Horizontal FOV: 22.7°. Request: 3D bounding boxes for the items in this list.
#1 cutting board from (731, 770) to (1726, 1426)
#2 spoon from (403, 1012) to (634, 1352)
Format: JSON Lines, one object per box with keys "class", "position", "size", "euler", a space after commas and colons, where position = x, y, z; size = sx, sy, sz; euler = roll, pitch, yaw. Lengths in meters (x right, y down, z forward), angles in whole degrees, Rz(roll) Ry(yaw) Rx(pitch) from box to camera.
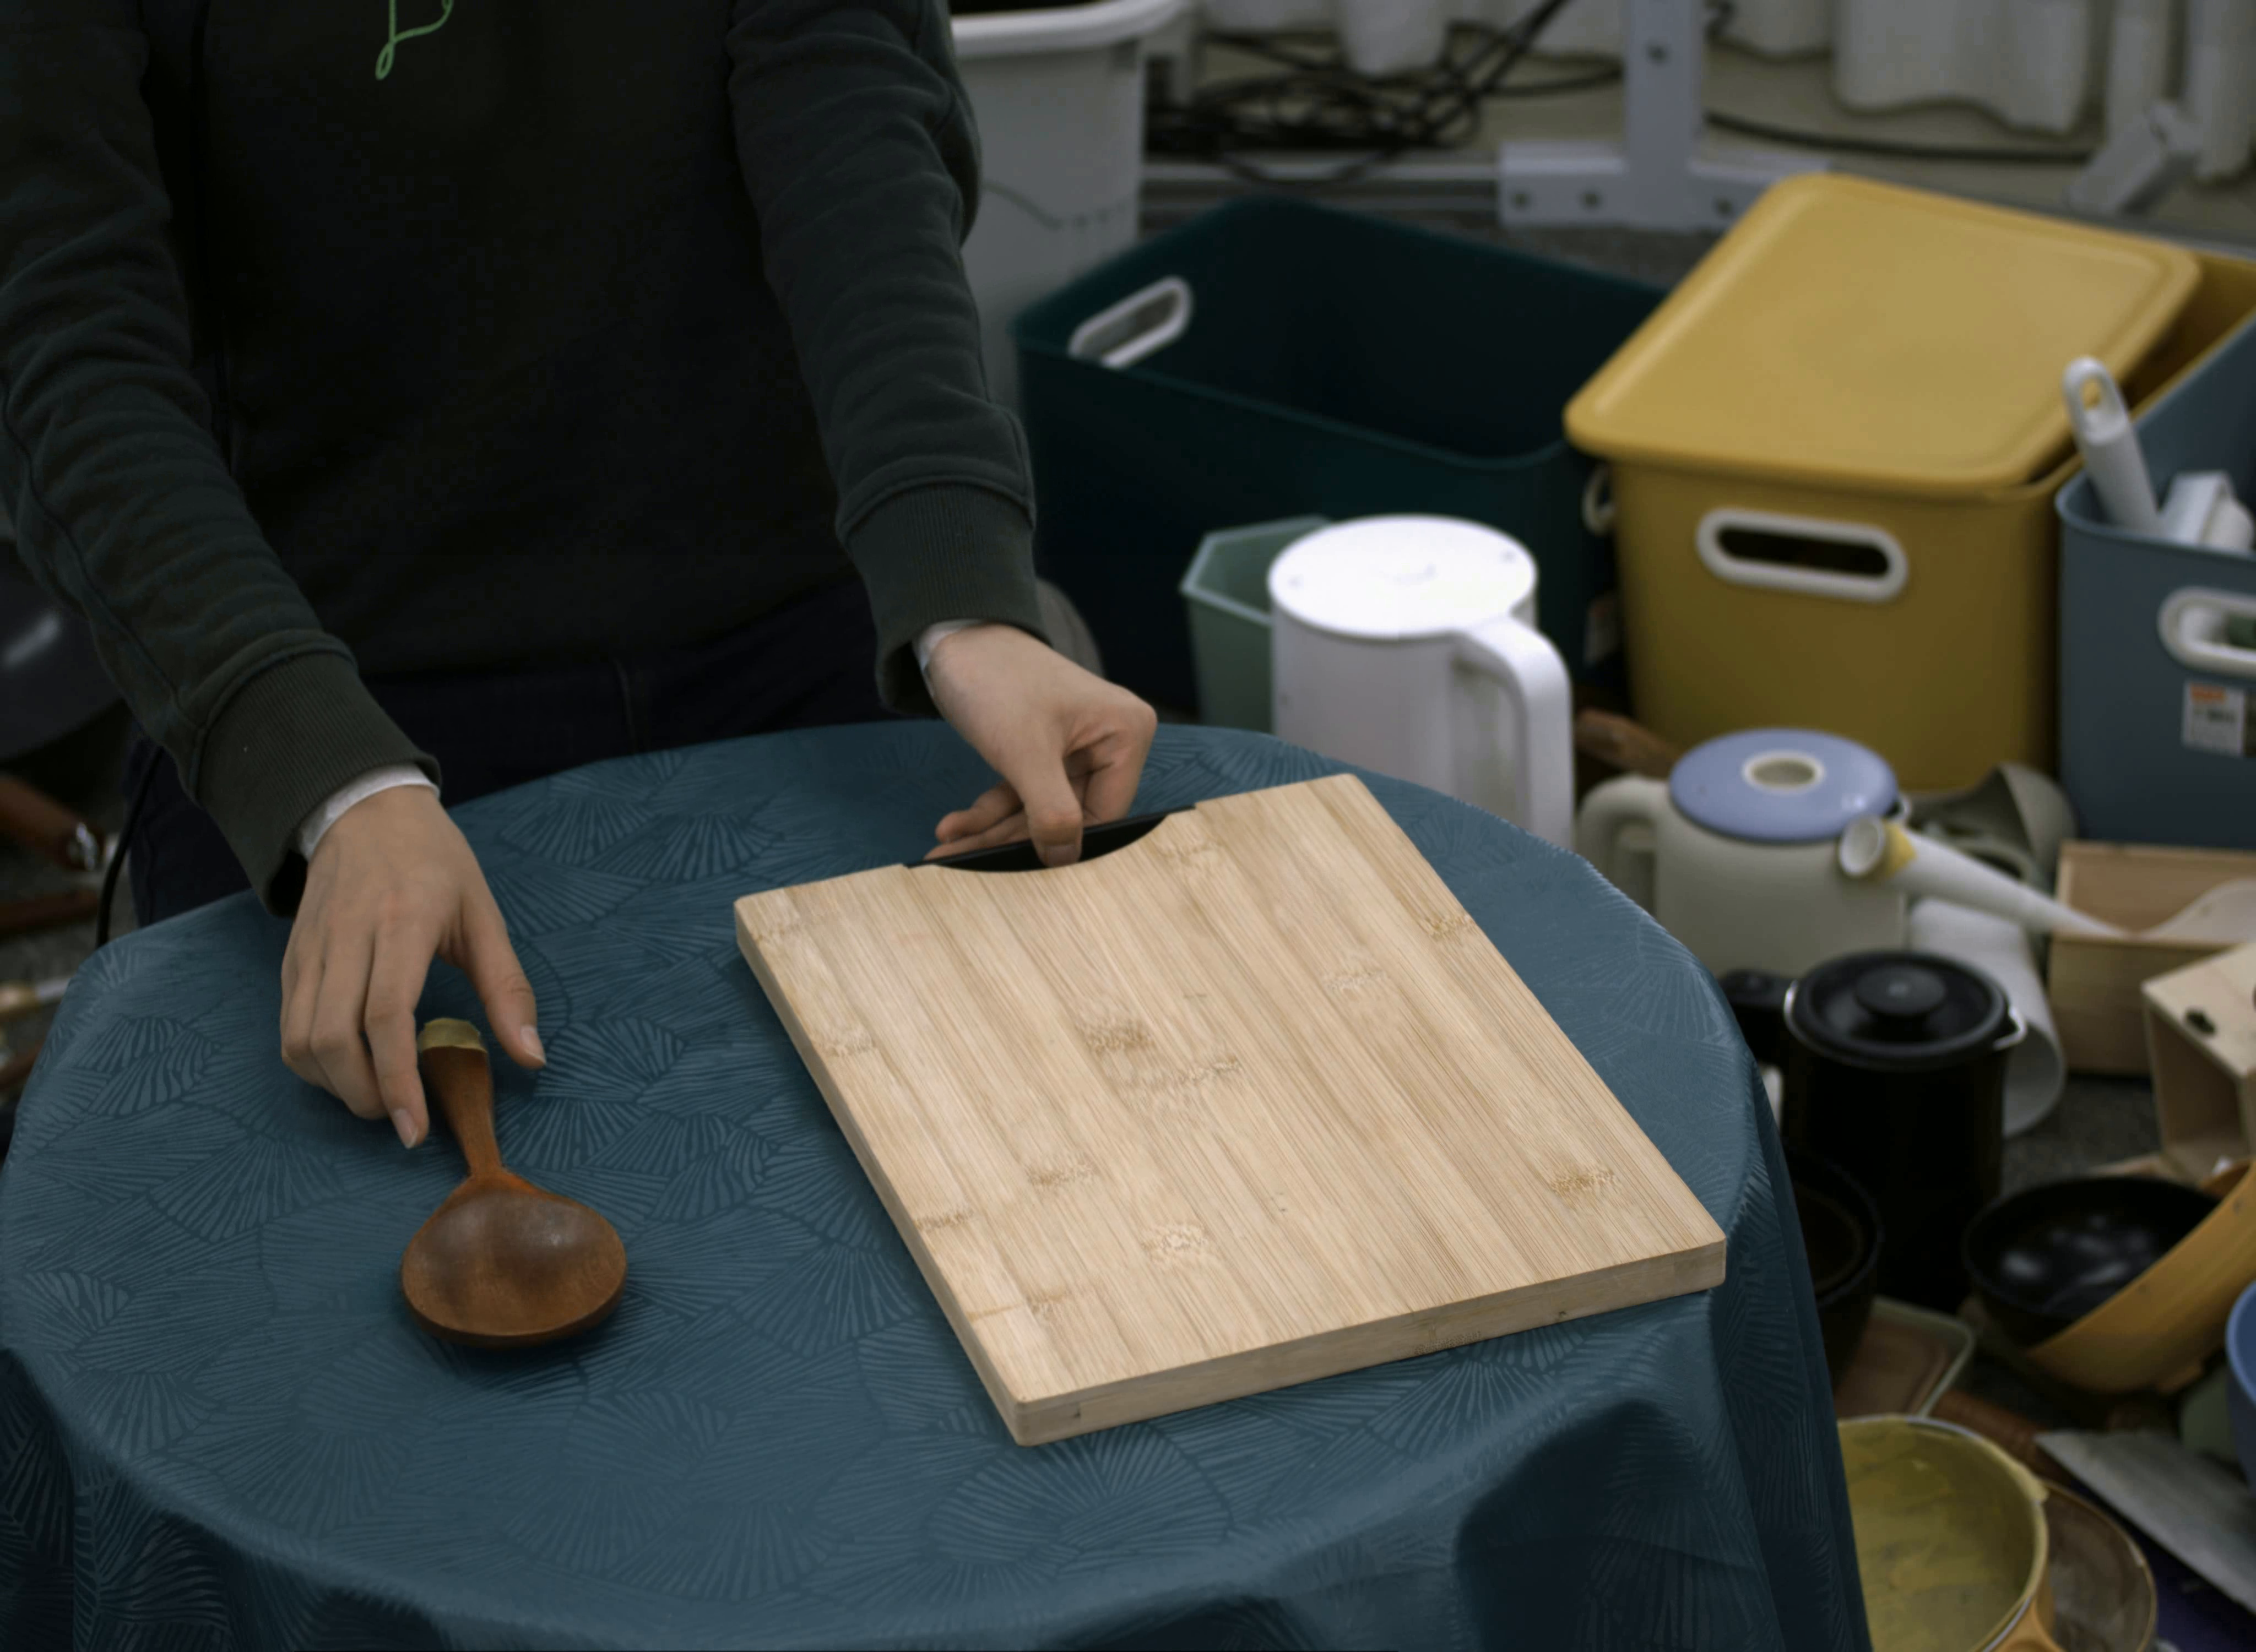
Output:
{"class": "cutting board", "position": [0.024, 0.085, 1.907], "size": [0.251, 0.023, 0.352], "euler": [-11, 29, -16]}
{"class": "spoon", "position": [-0.212, 0.119, 1.868], "size": [0.075, 0.017, 0.218], "euler": [-10, 29, -10]}
